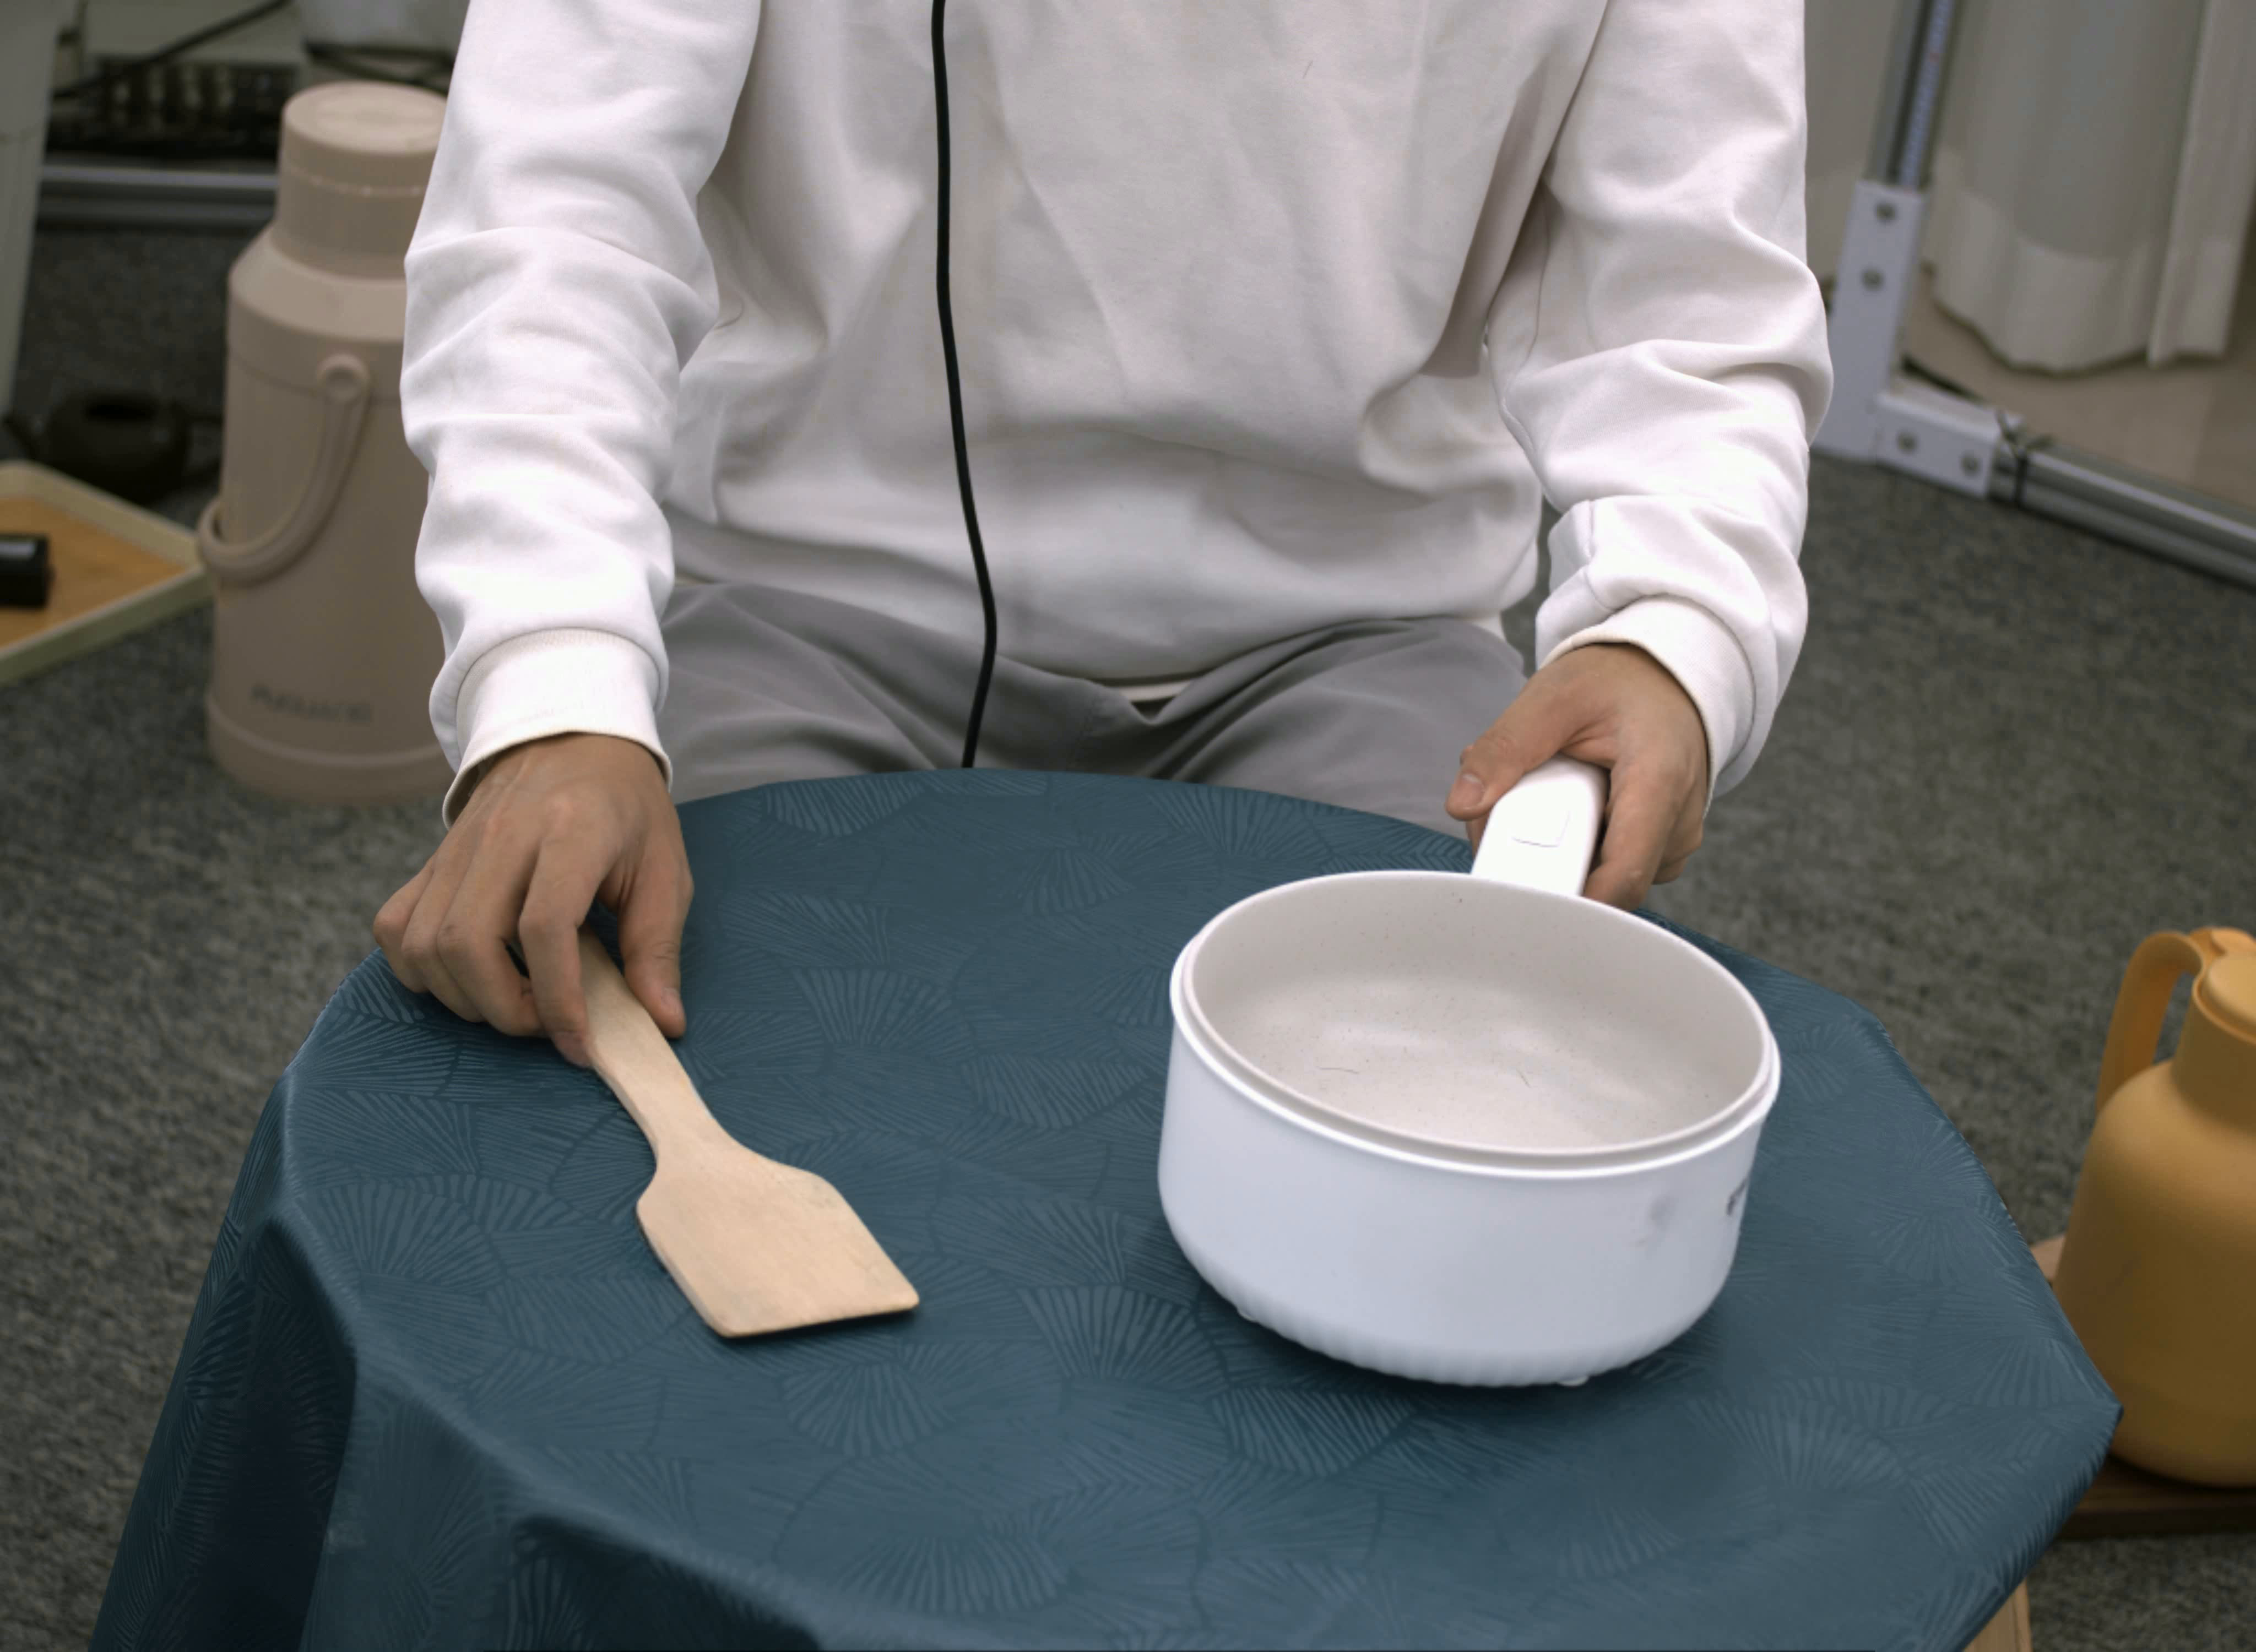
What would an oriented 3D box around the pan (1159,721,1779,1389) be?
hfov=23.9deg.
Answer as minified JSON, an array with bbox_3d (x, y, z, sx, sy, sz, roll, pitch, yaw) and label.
[{"bbox_3d":[0.124,0.074,1.828,0.201,0.102,0.356,10,25,8],"label":"pan"}]

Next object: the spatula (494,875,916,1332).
[{"bbox_3d":[-0.160,0.090,1.820,0.072,0.010,0.296,-8,32,-24],"label":"spatula"}]
